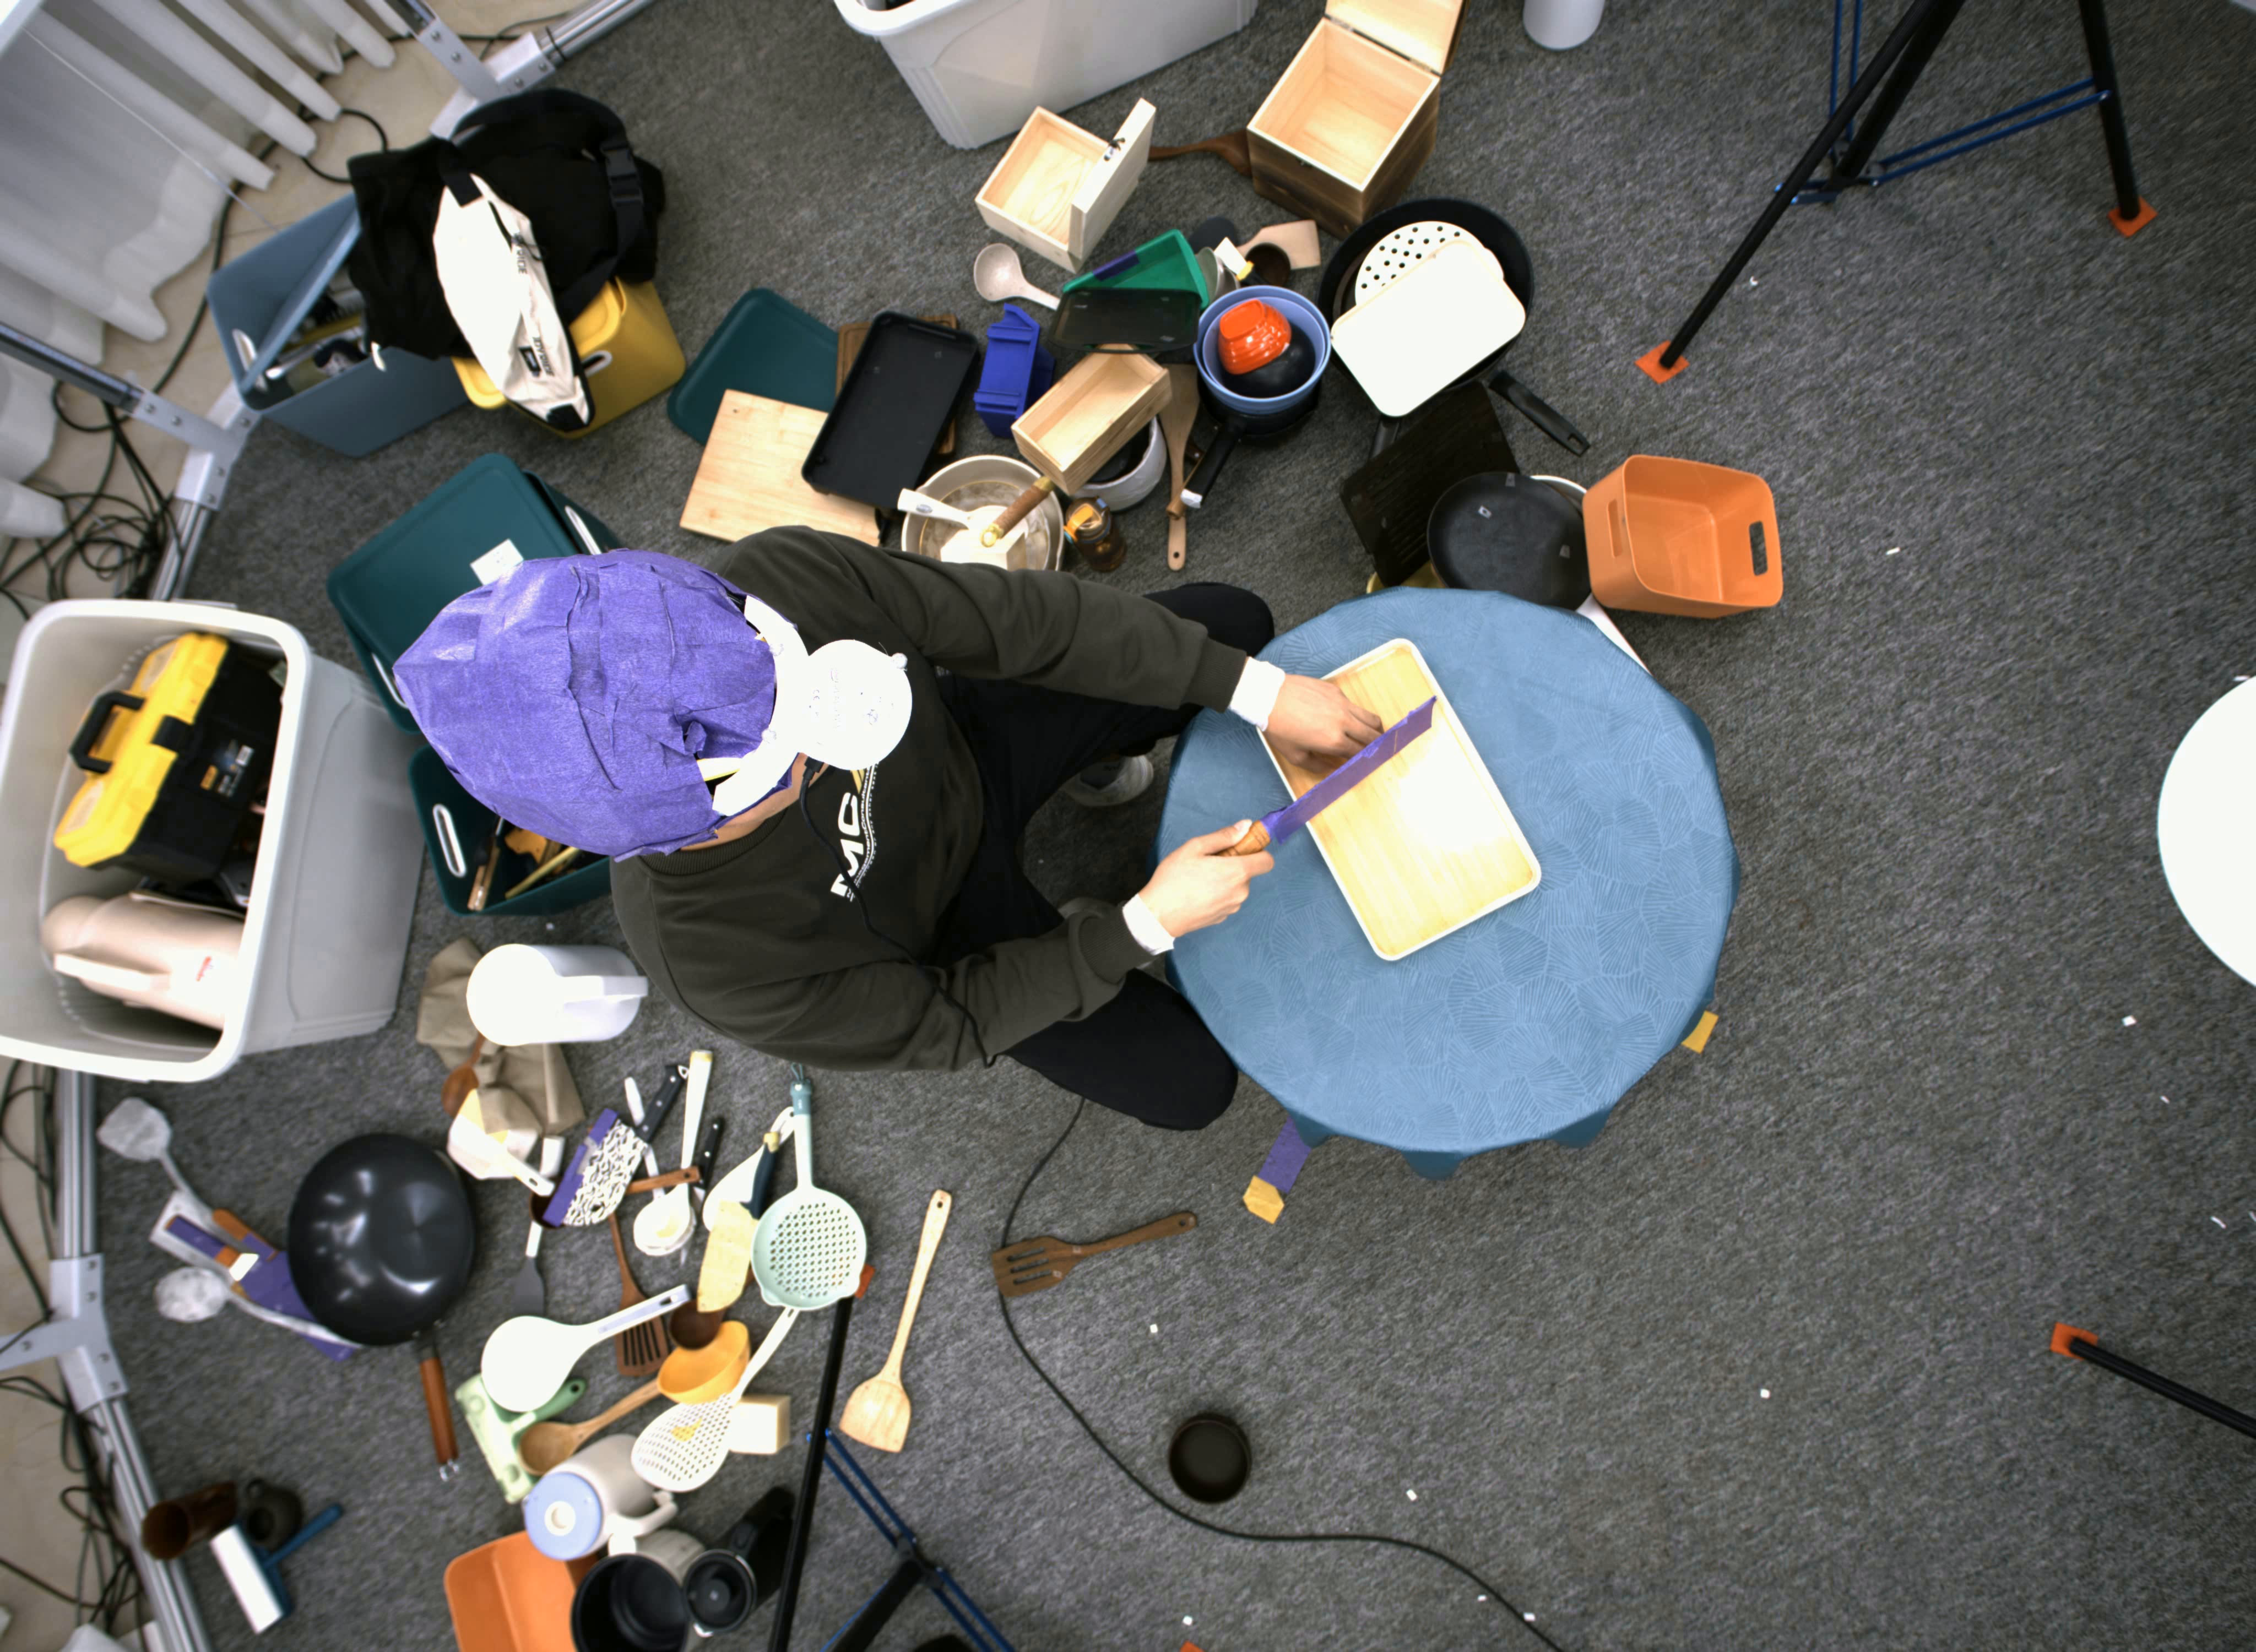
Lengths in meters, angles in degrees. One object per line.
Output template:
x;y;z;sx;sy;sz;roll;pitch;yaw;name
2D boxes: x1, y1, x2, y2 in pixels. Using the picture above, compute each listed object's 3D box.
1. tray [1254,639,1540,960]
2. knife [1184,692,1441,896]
0.280;-0.030;1.450;0.192;0.027;0.298;-28;82;7;tray
0.194;-0.024;1.399;0.315;0.105;0.032;-36;70;-1;knife
